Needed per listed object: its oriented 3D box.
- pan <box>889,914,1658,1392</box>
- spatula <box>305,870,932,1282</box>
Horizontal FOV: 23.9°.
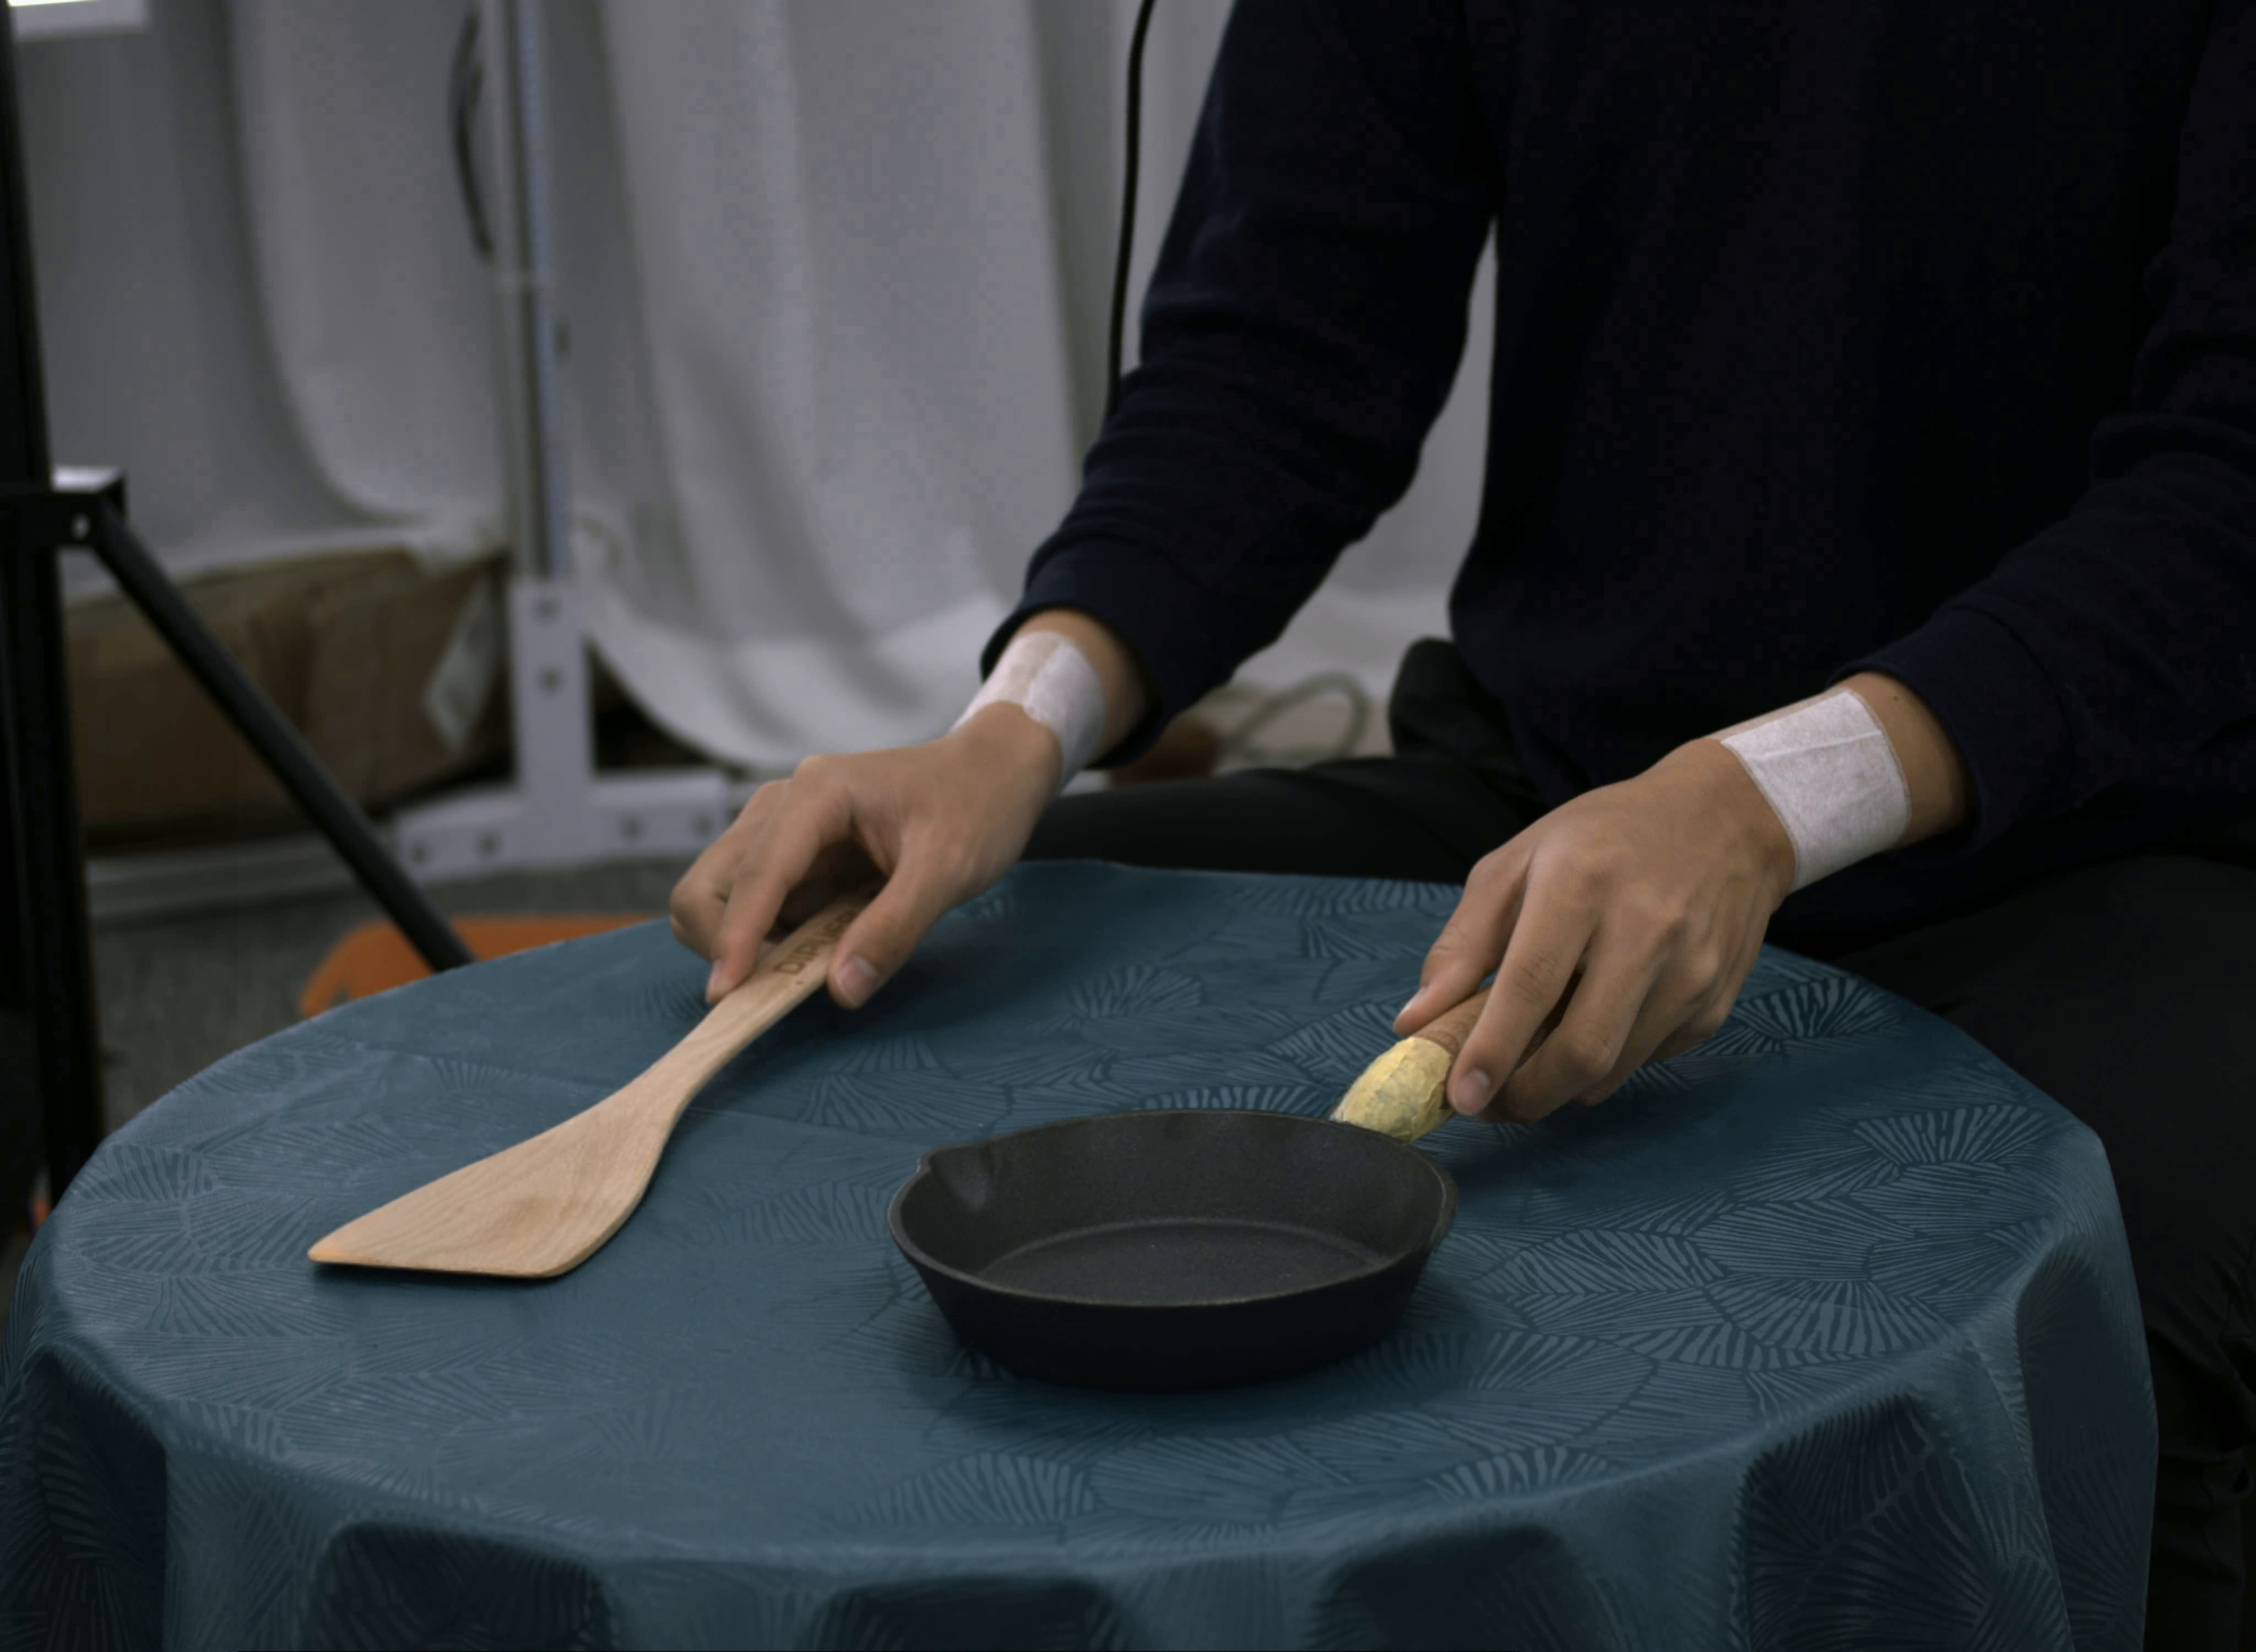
[{"bbox_3d":[0.064,0.090,1.519,0.172,0.049,0.317,10,21,38],"label":"pan"},{"bbox_3d":[-0.137,0.073,1.645,0.081,0.016,0.323,6,24,24],"label":"spatula"}]
